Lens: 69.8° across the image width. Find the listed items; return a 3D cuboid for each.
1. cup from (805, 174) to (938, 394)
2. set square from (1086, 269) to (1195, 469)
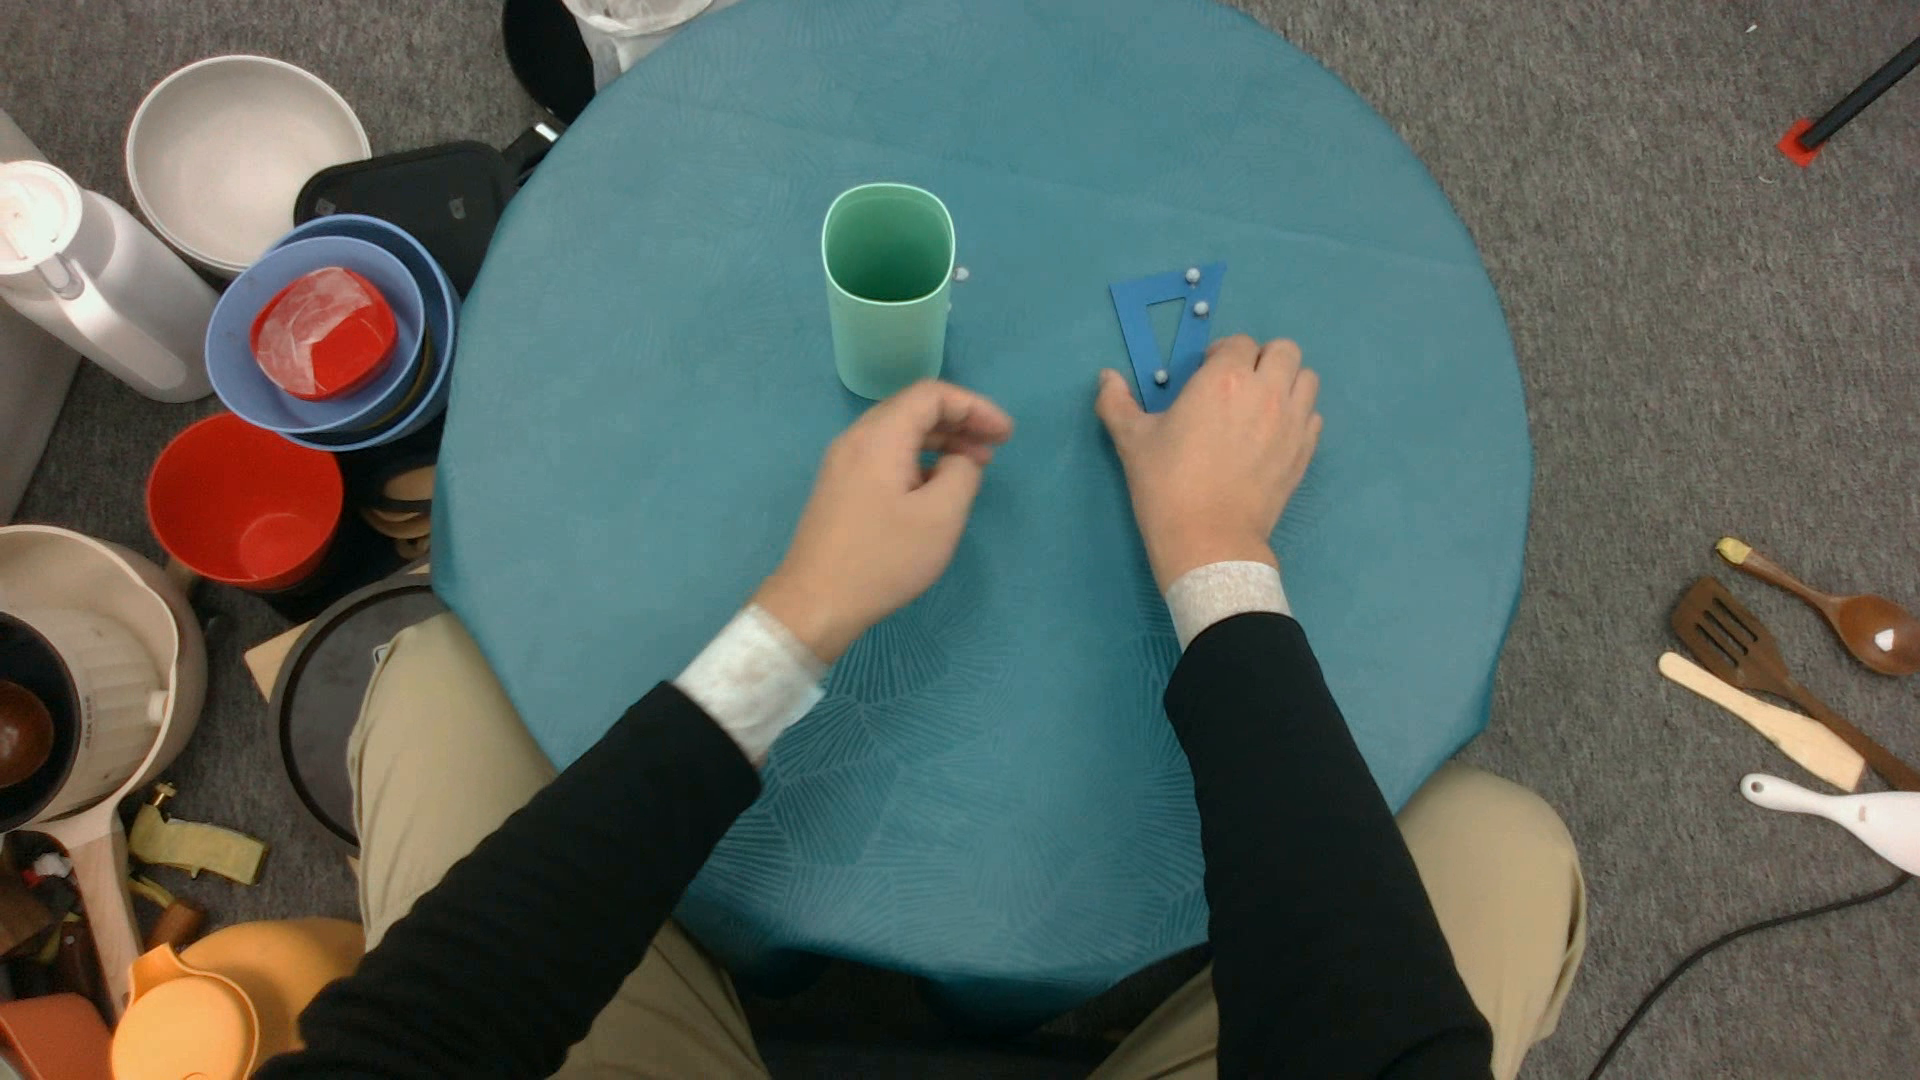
[{"bbox_3d":[-0.046,-0.126,0.708,0.067,0.132,0.067,1,75,-4],"label":"cup"},{"bbox_3d":[0.088,-0.106,0.772,0.061,0.006,0.132,21,74,-2],"label":"set square"}]
